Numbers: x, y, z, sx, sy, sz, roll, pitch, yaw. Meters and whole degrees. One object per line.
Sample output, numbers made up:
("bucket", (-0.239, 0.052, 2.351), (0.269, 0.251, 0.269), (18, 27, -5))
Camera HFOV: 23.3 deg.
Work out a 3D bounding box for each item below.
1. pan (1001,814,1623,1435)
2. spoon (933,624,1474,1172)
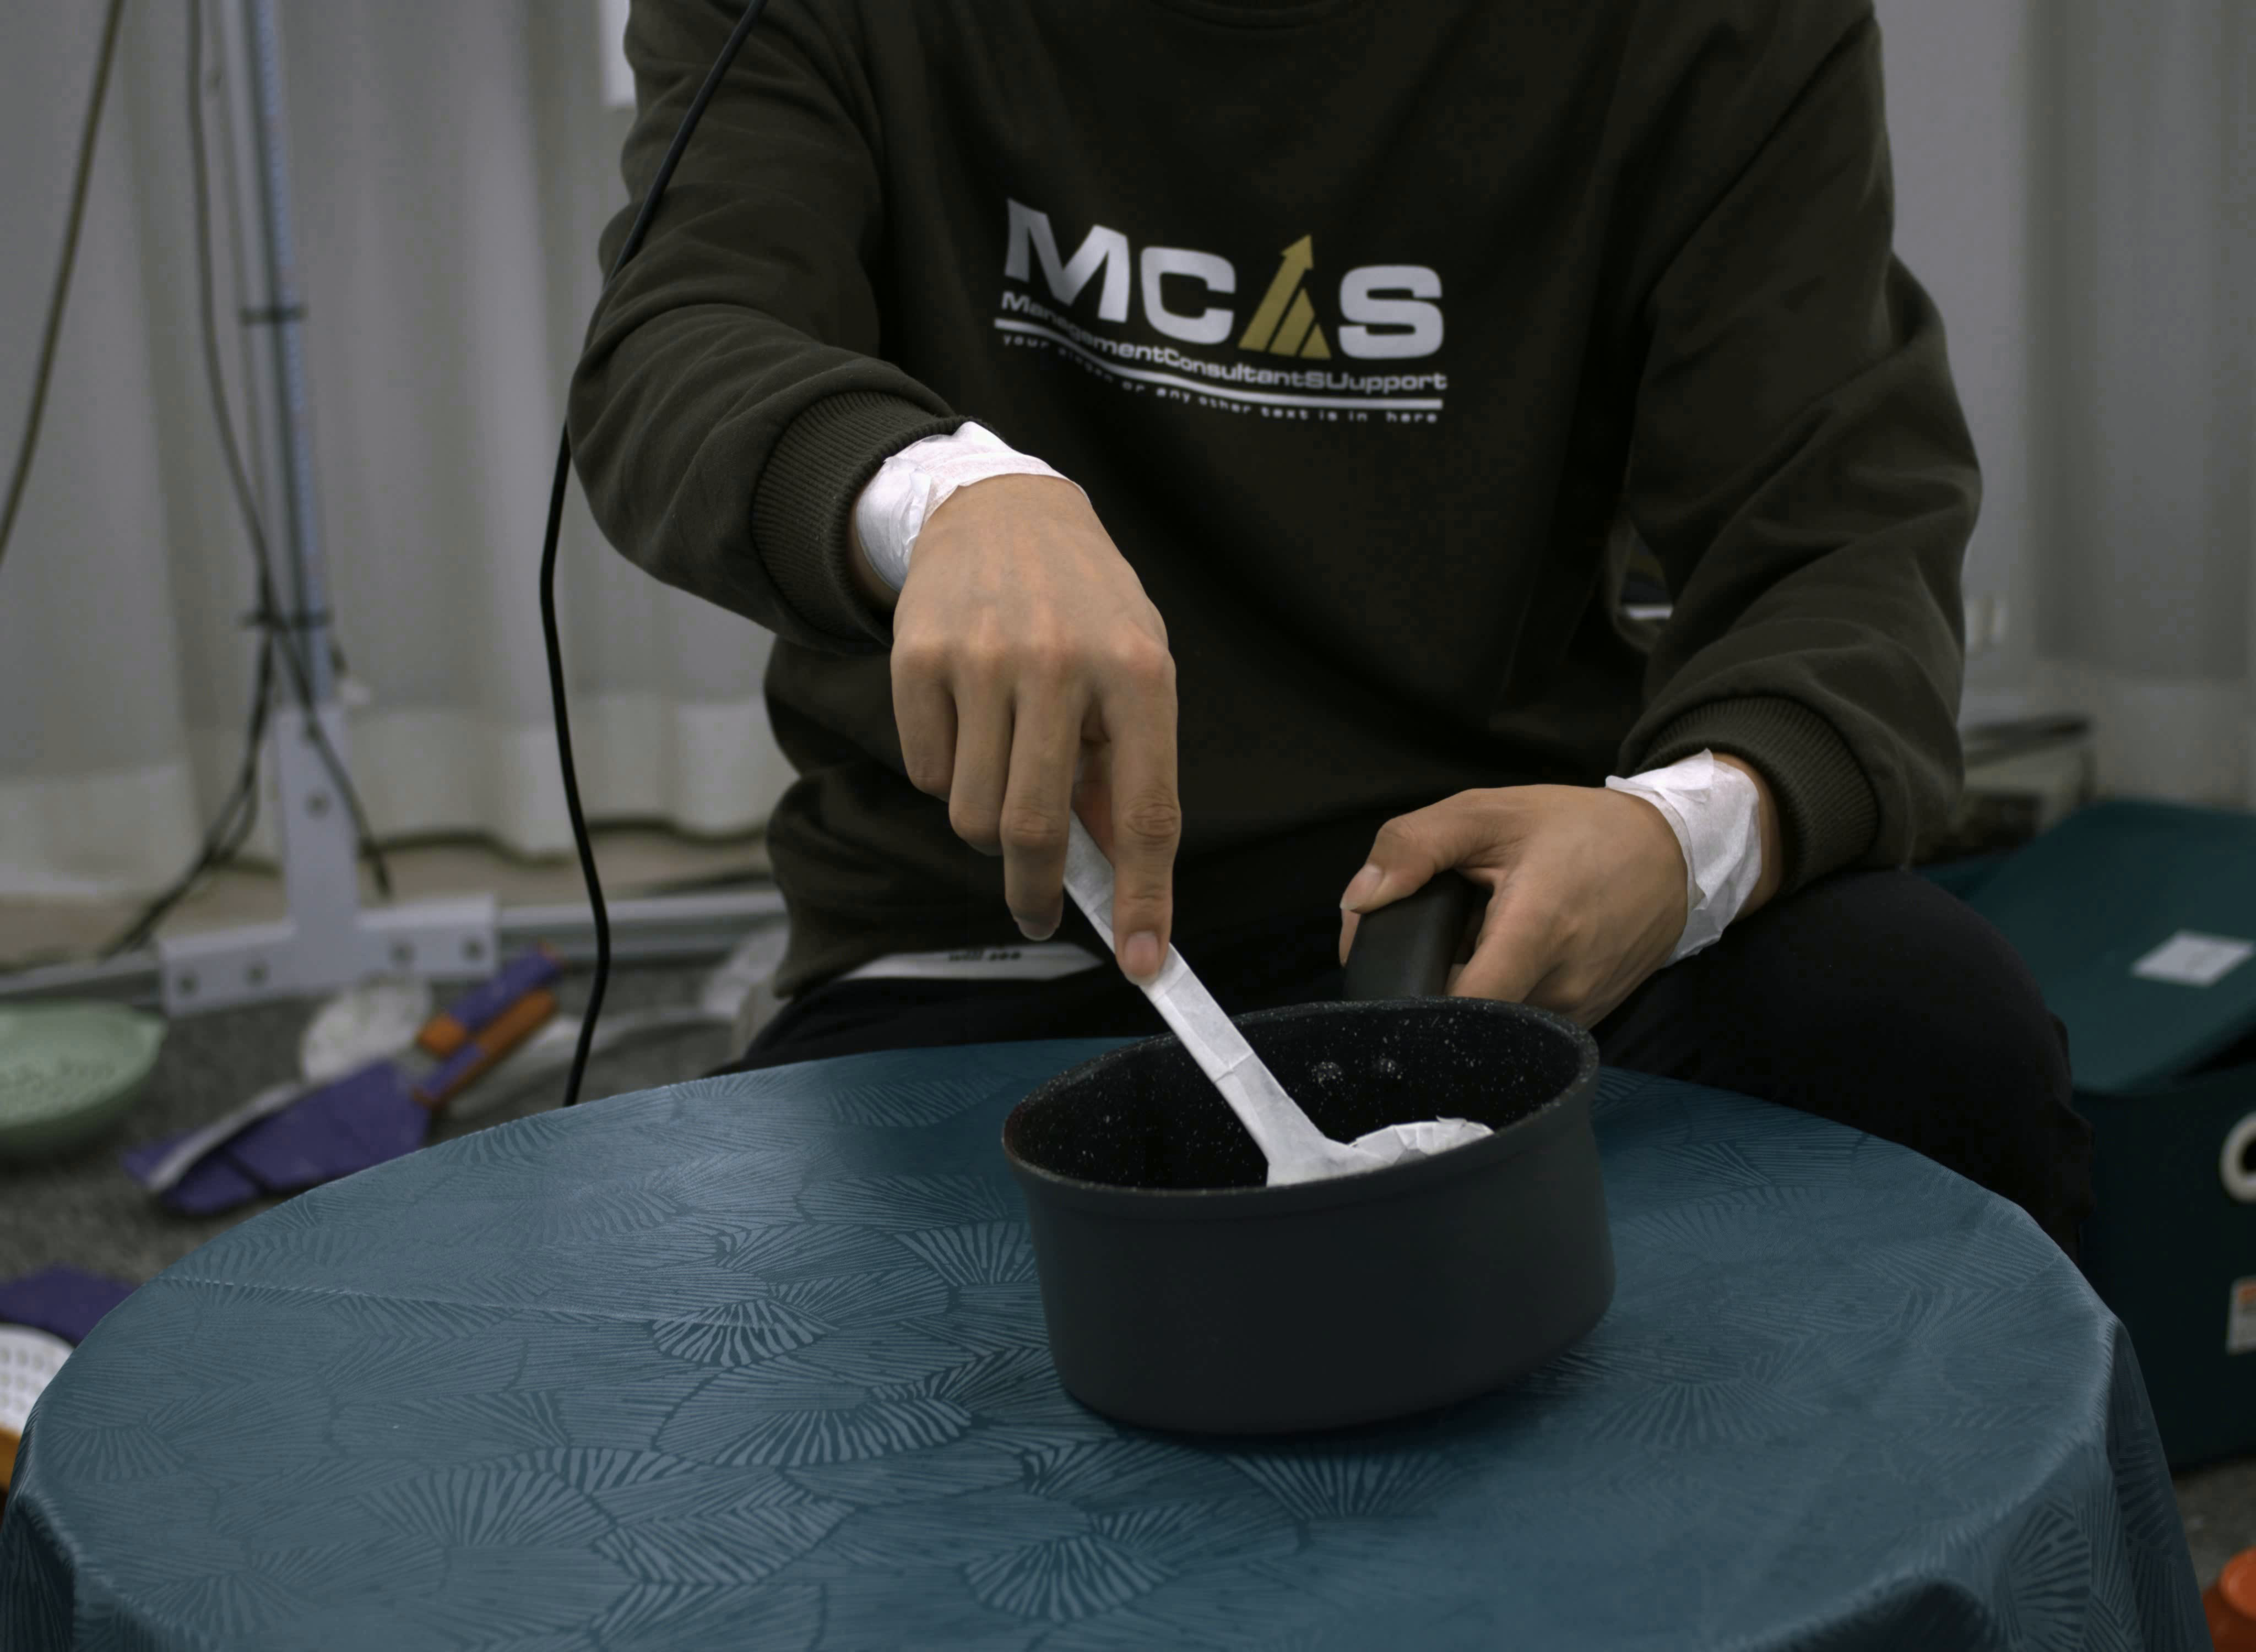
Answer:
("pan", (0.074, 0.085, 1.624), (0.172, 0.086, 0.330), (-4, 16, 17))
("spoon", (0.021, 0.038, 1.576), (0.100, 0.280, 0.059), (-31, -20, -8))
